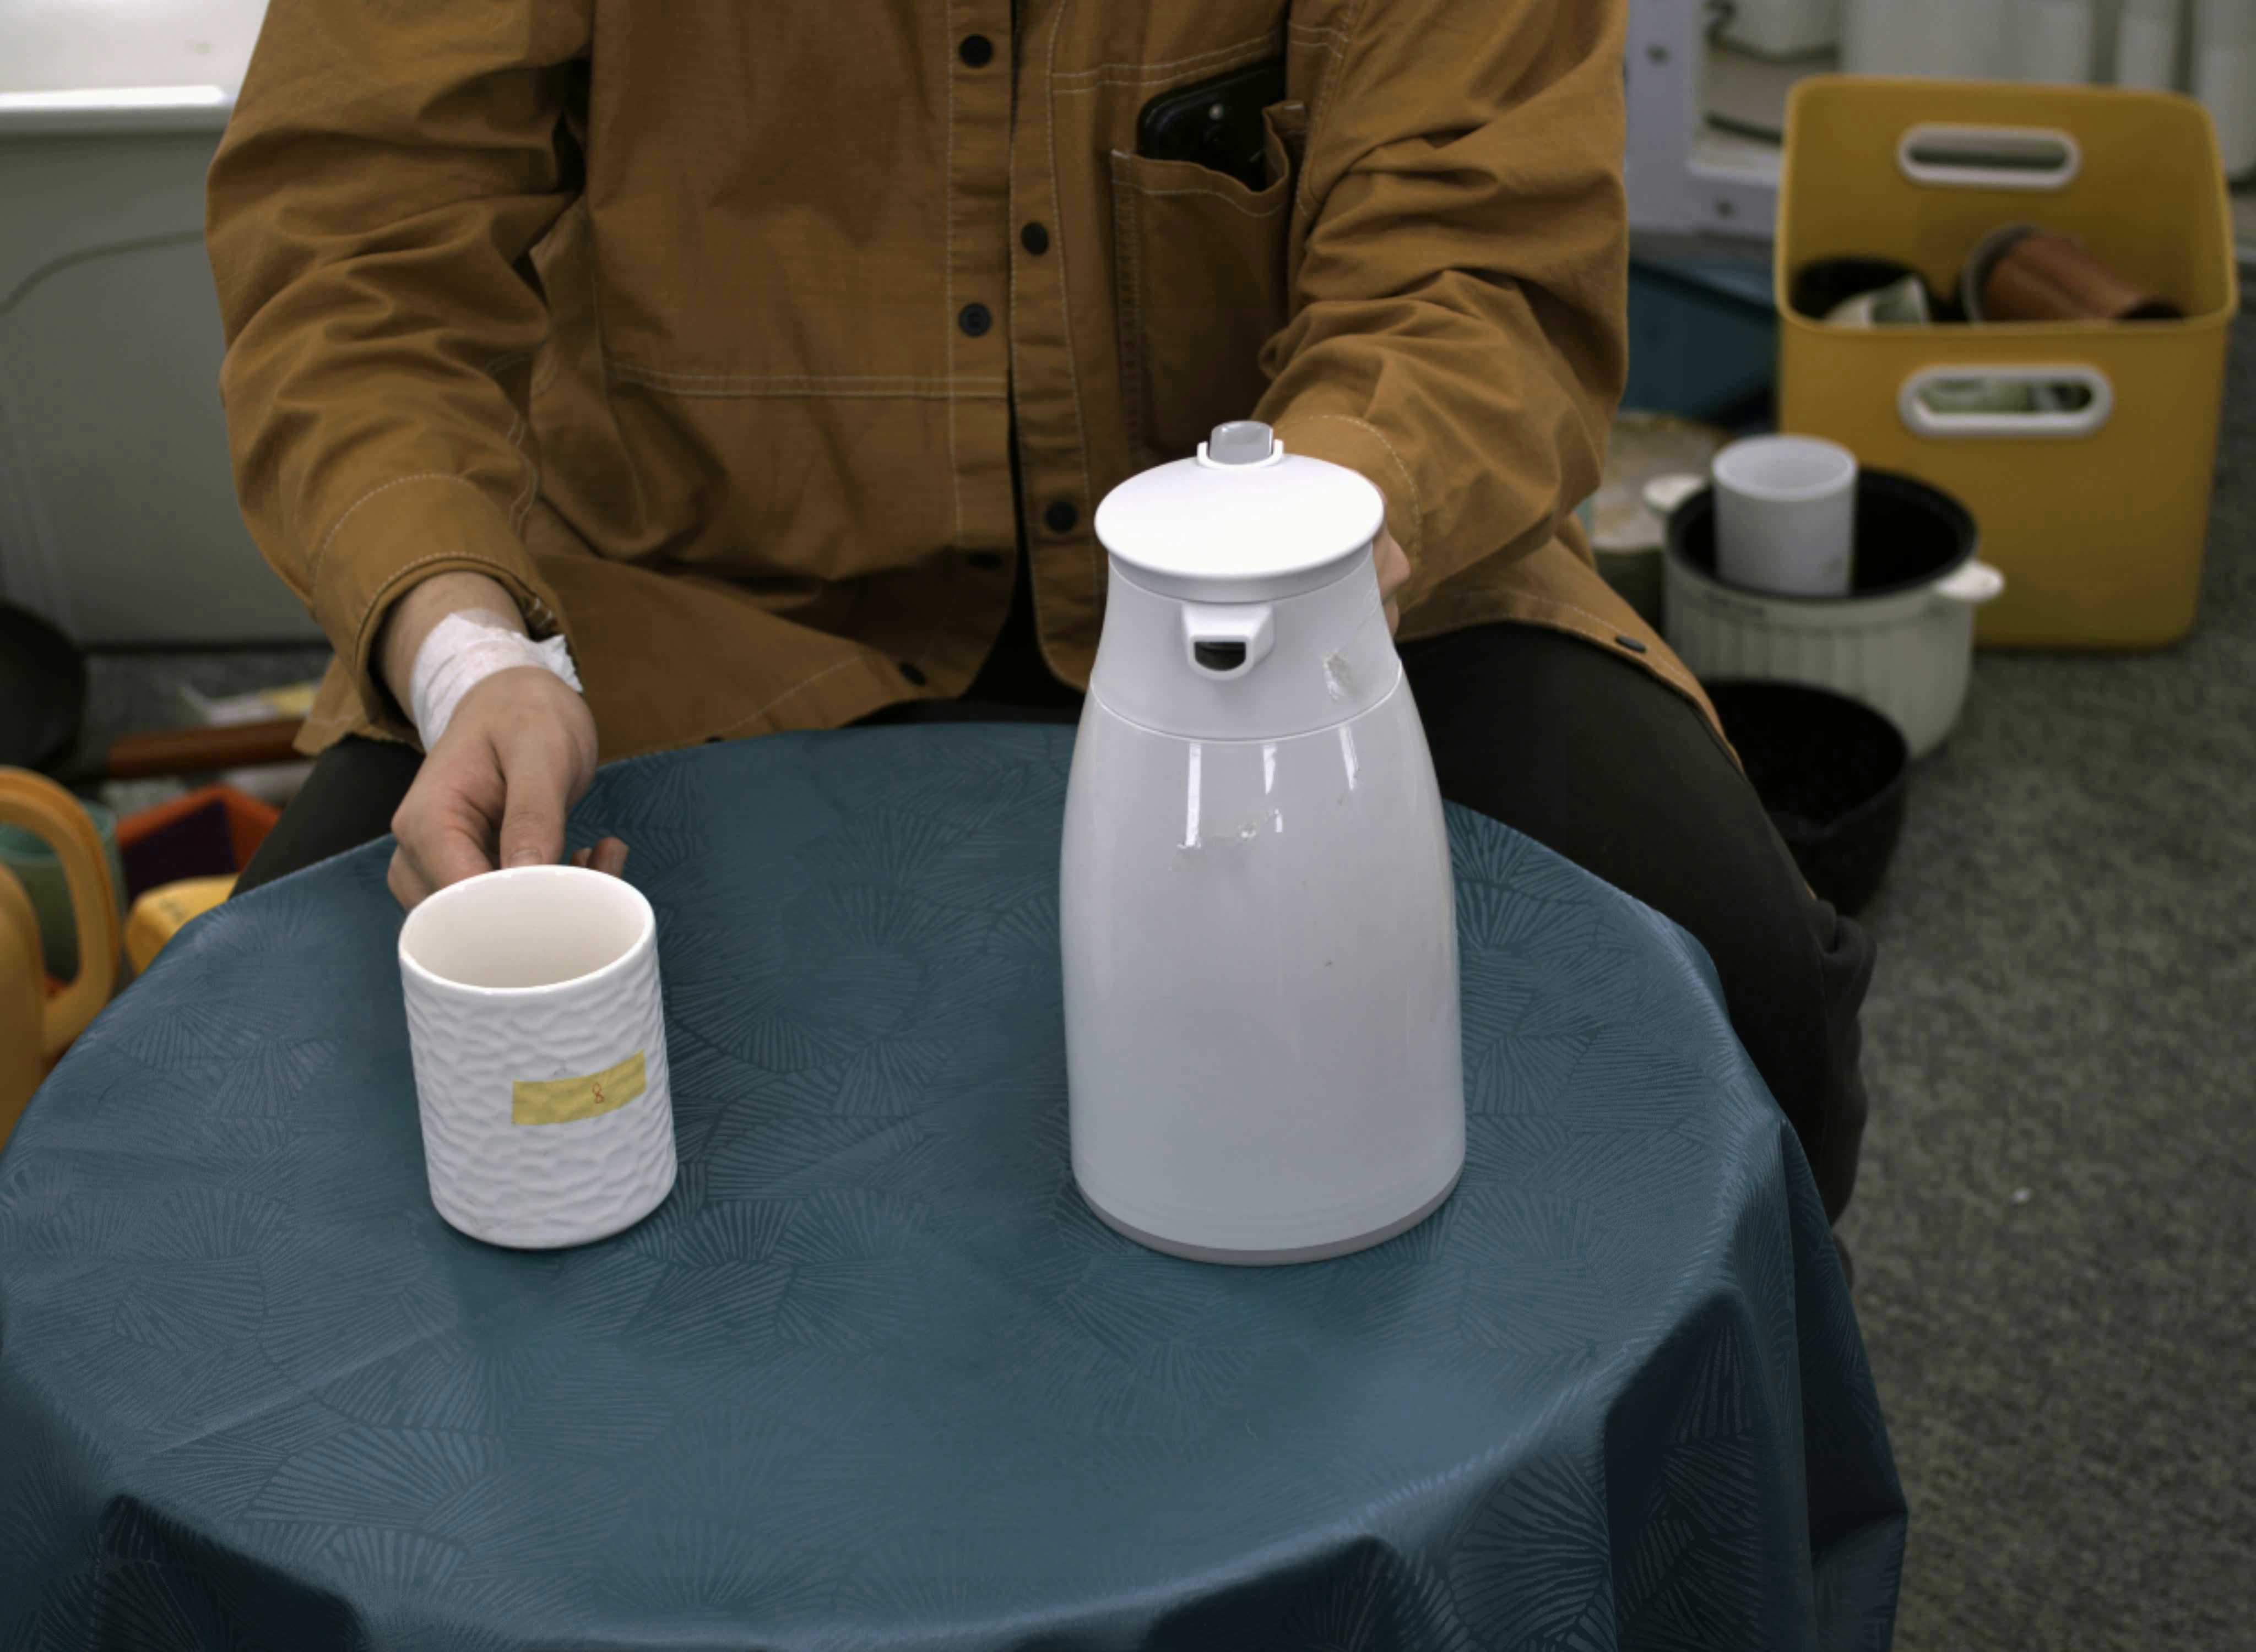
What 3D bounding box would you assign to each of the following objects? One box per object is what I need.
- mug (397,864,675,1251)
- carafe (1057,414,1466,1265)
[{"bbox_3d":[-0.196,0.070,1.867,0.085,0.101,0.120,-5,26,-5],"label":"mug"},{"bbox_3d":[0.040,-0.006,1.836,0.132,0.246,0.170,-1,26,6],"label":"carafe"}]
